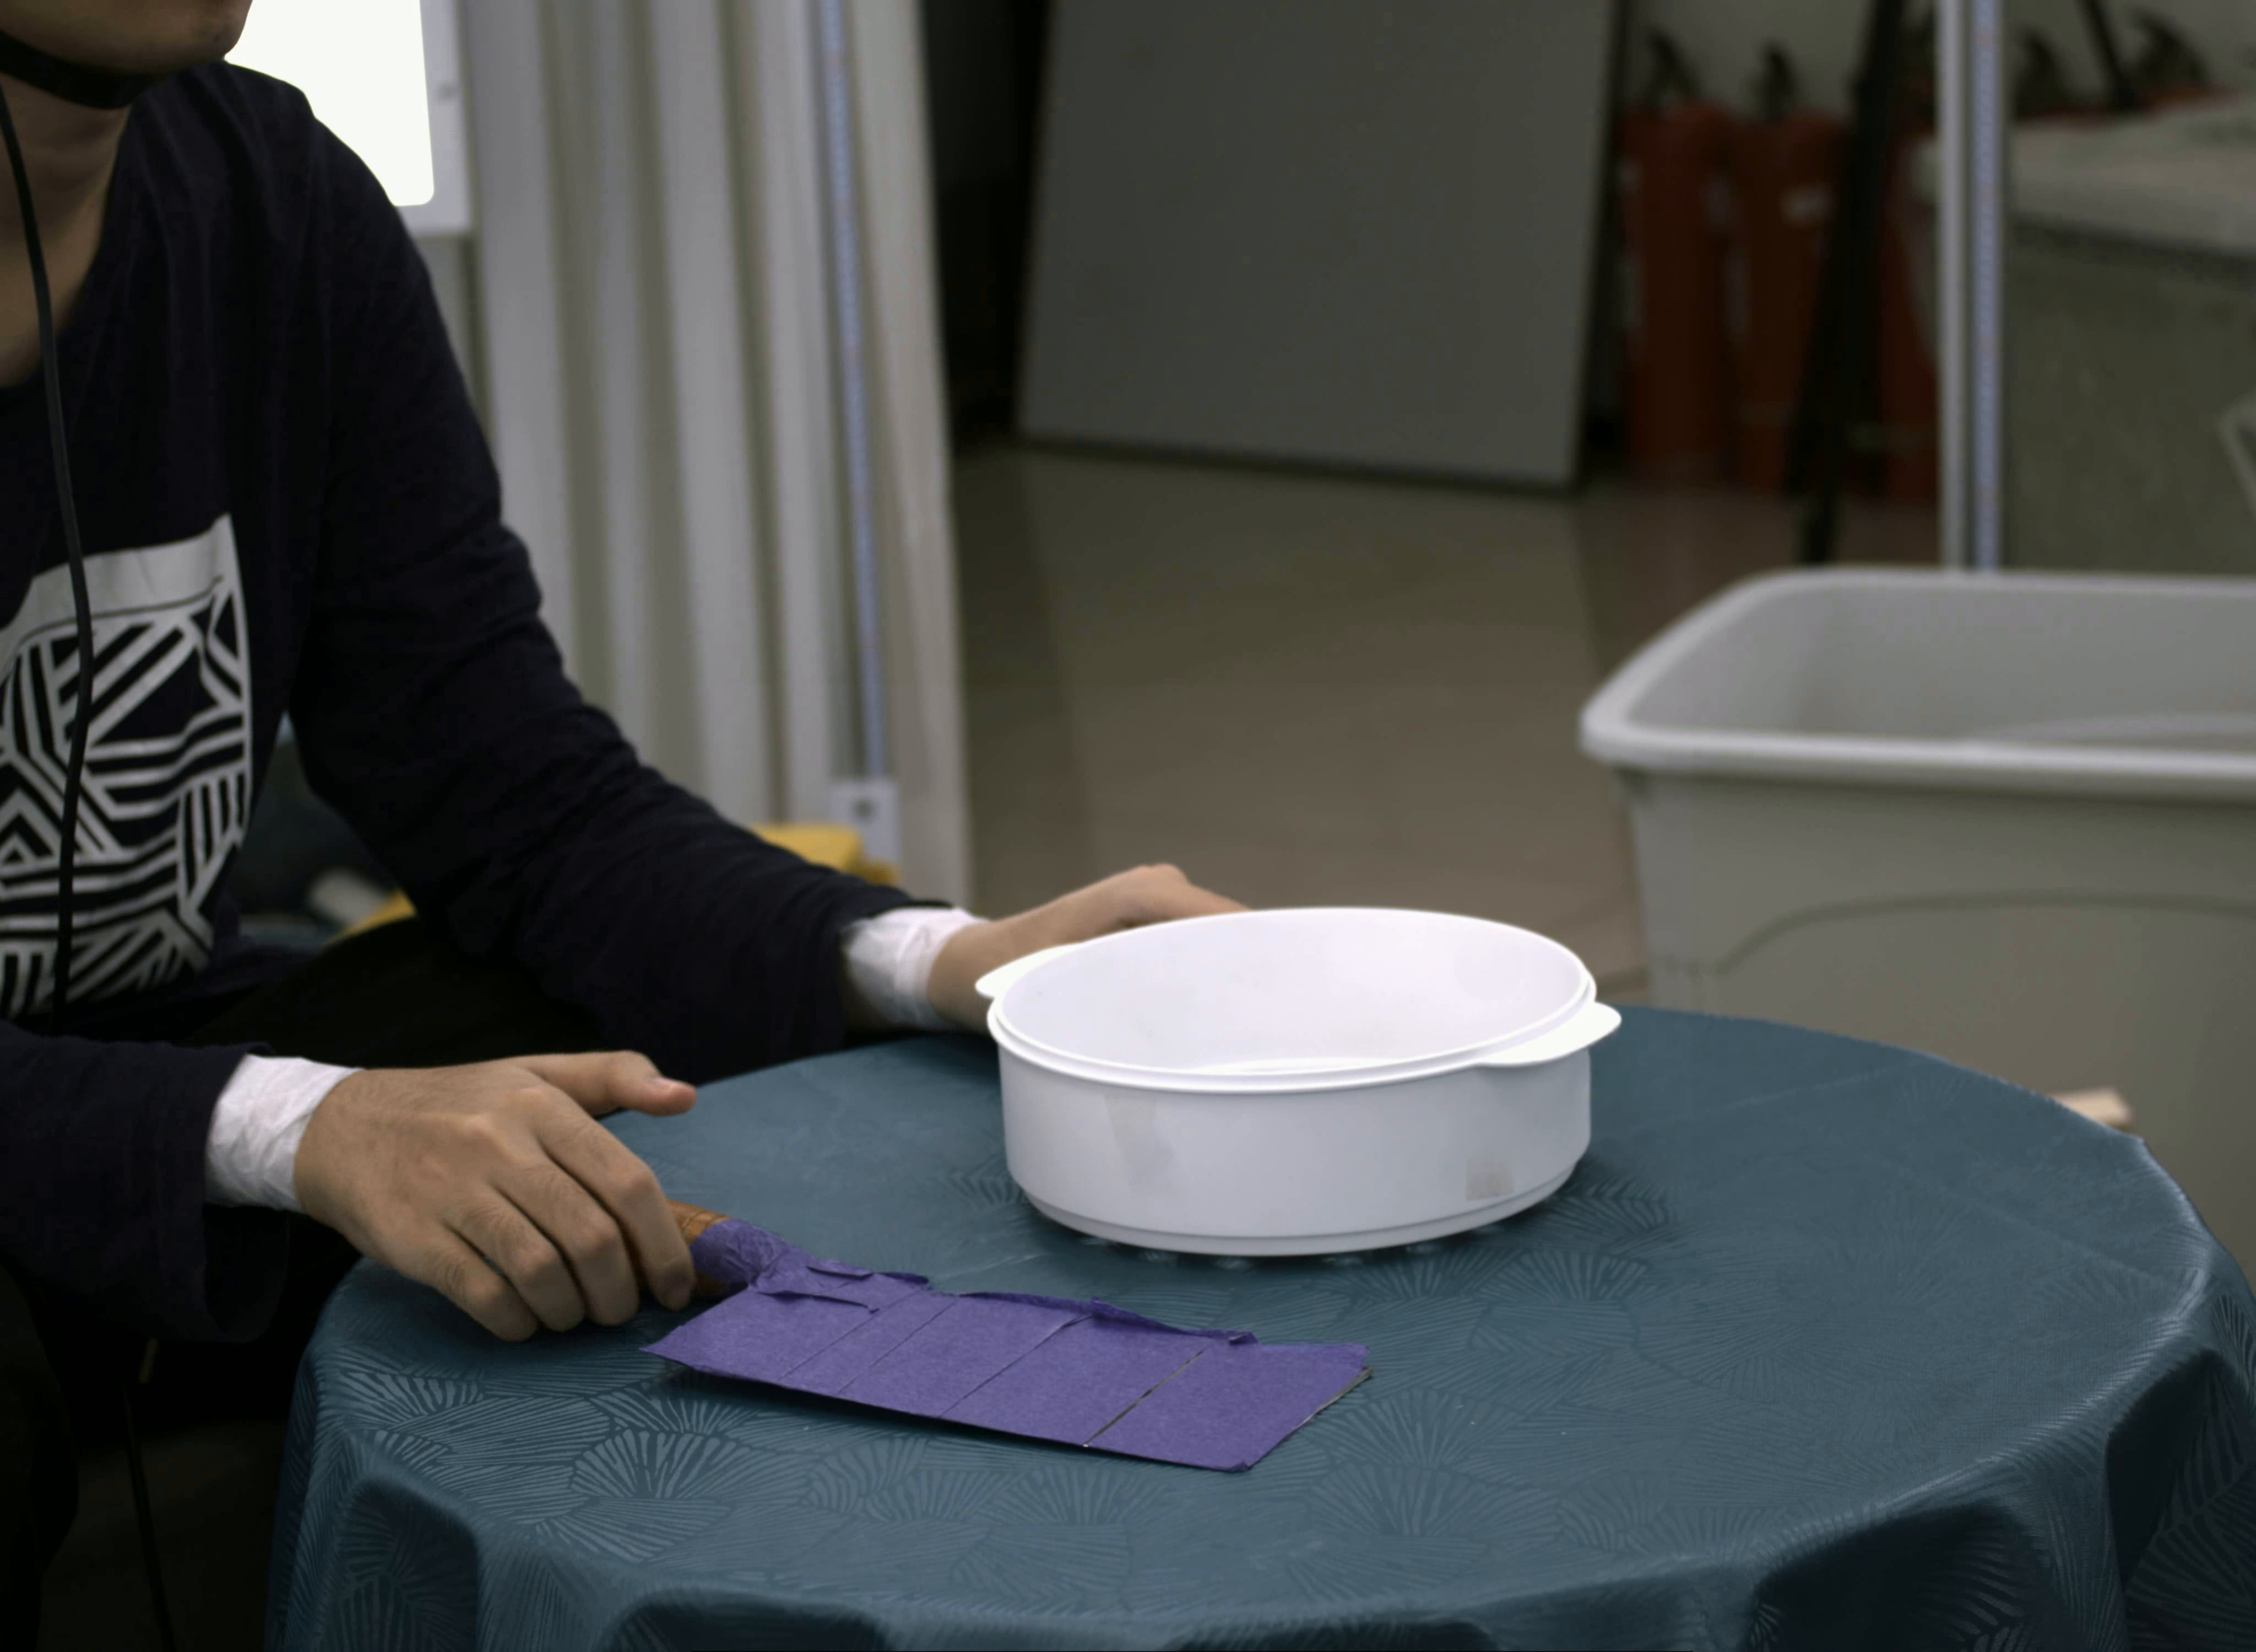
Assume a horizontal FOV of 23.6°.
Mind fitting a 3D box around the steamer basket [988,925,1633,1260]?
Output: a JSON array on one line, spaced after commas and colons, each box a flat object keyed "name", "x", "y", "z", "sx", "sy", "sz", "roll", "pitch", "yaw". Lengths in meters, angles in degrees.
[{"name": "steamer basket", "x": 0.060, "y": 0.087, "z": 1.762, "sx": 0.232, "sy": 0.070, "sz": 0.198, "roll": 2, "pitch": 13, "yaw": 36}]

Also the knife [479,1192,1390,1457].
[{"name": "knife", "x": -0.079, "y": 0.149, "z": 1.626, "sx": 0.316, "sy": 0.032, "sz": 0.102, "roll": 4, "pitch": 15, "yaw": 30}]
